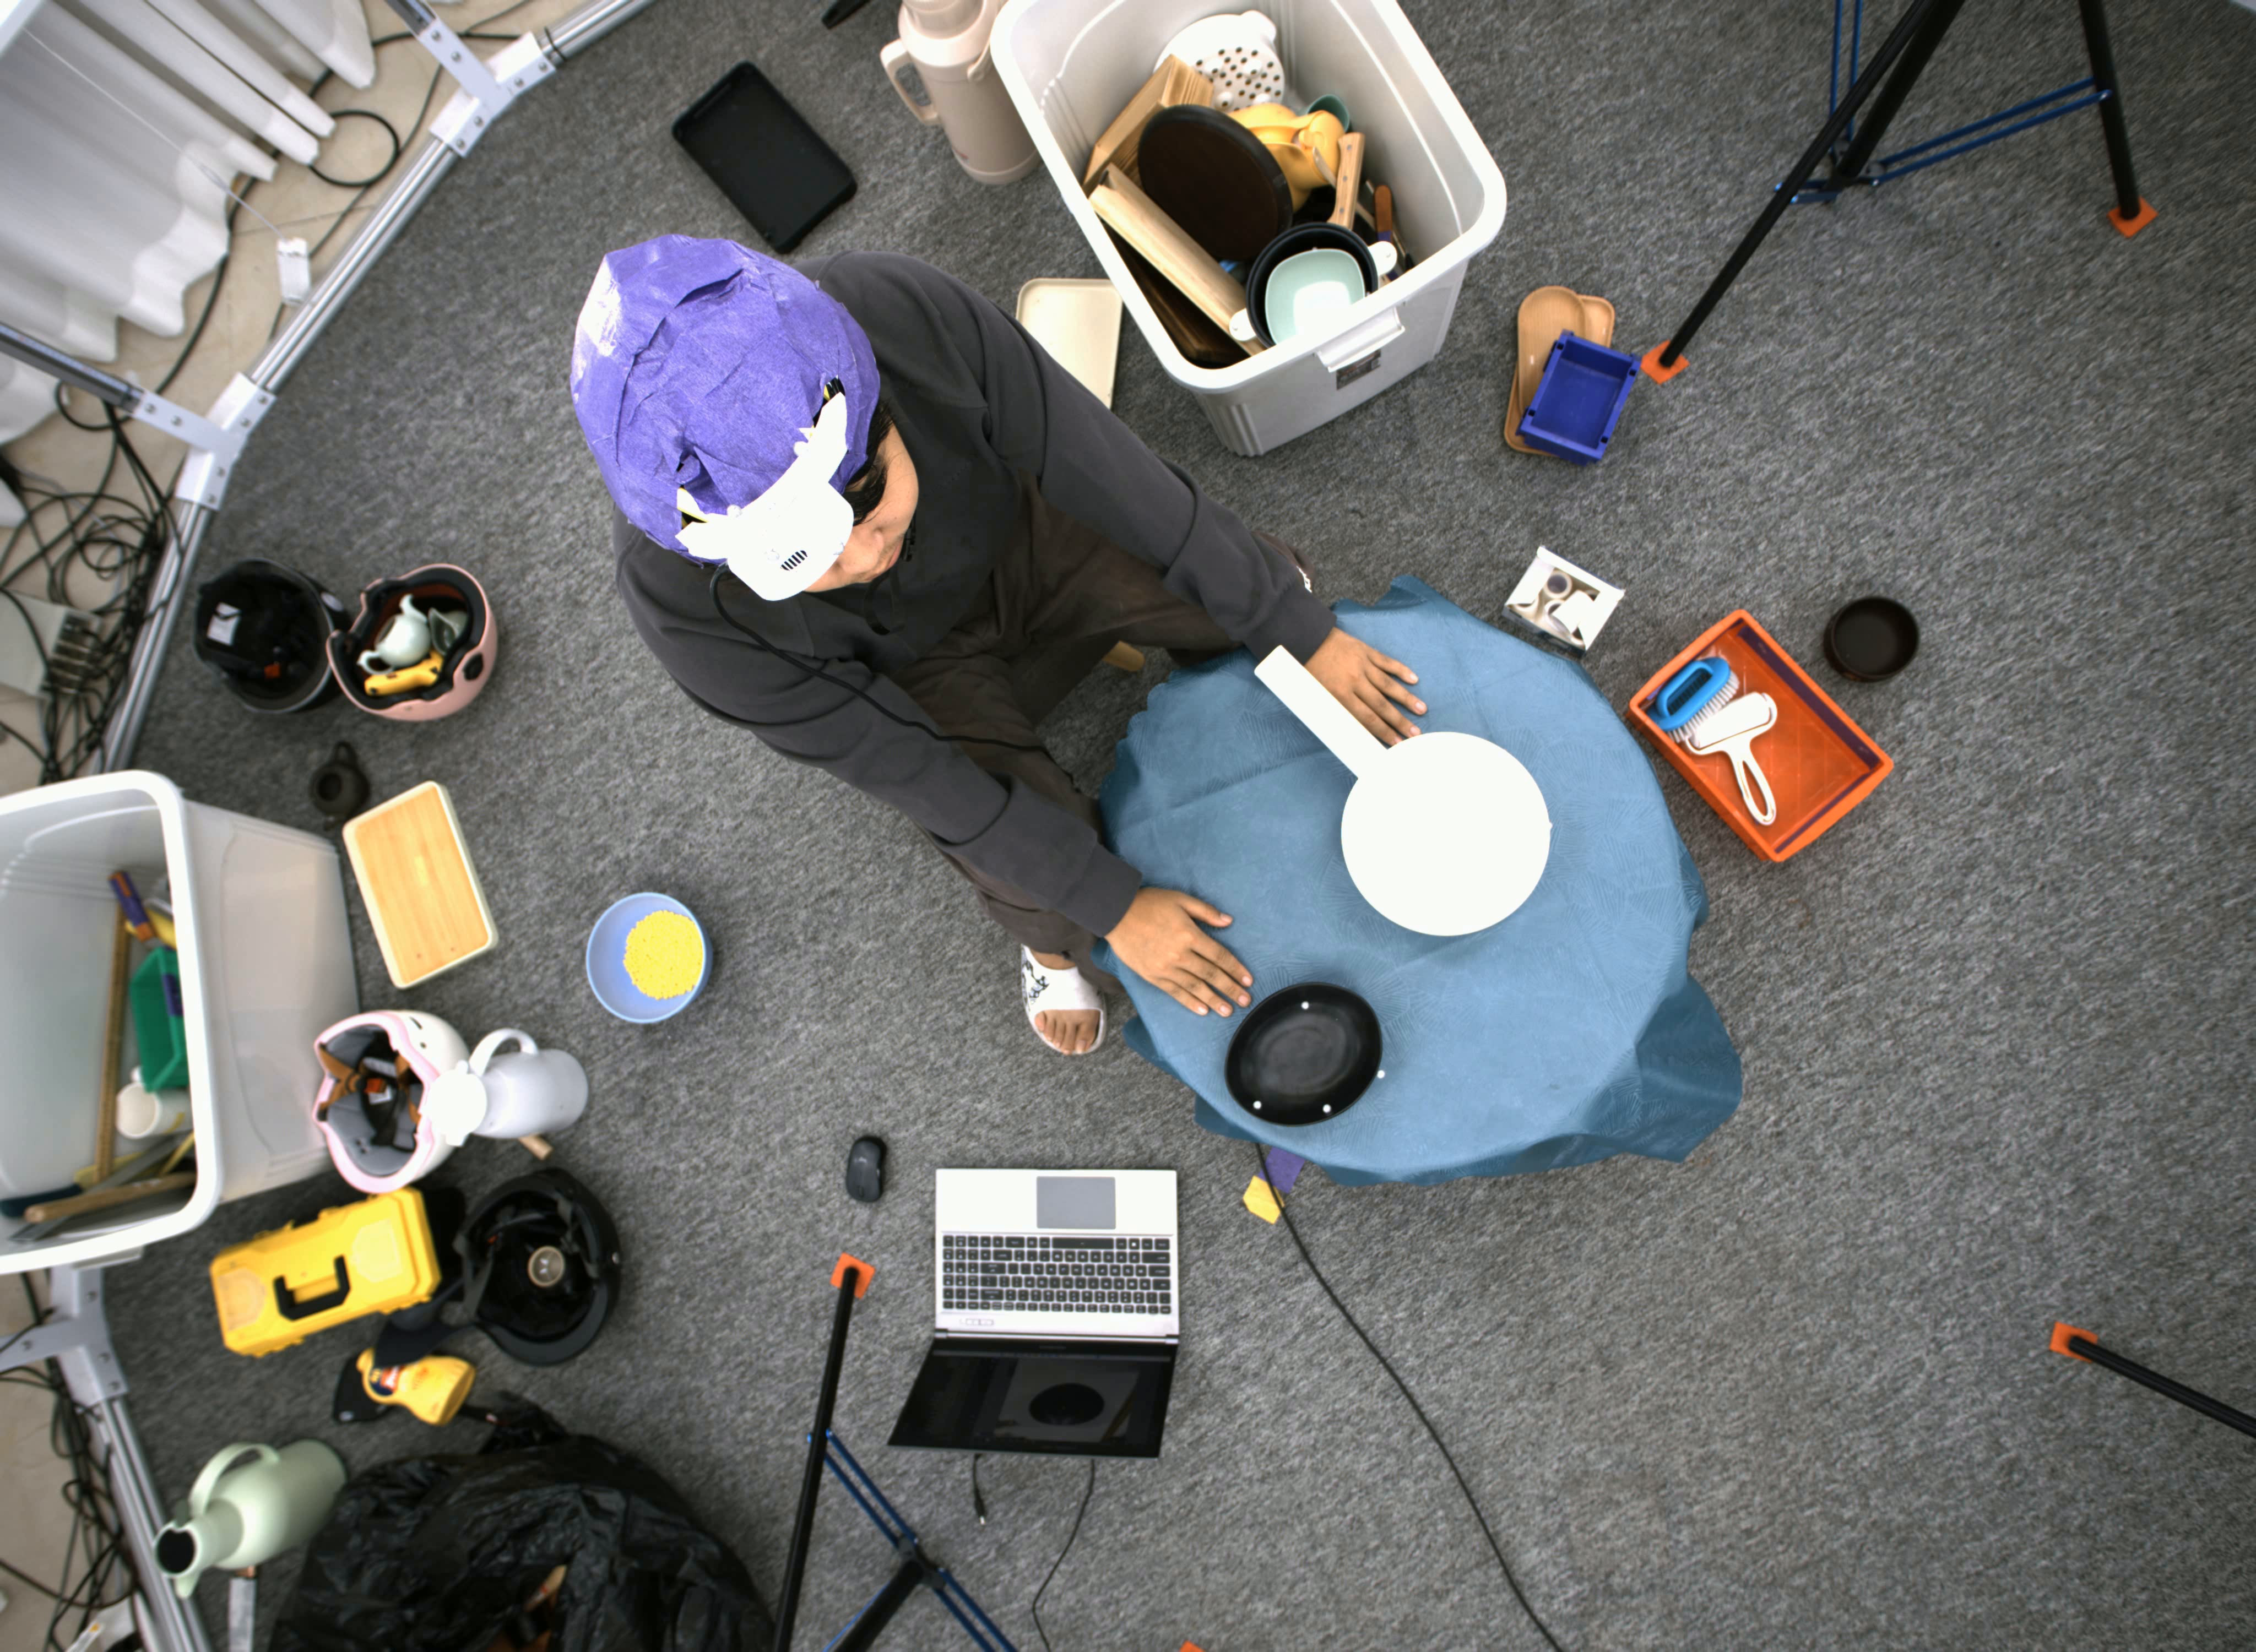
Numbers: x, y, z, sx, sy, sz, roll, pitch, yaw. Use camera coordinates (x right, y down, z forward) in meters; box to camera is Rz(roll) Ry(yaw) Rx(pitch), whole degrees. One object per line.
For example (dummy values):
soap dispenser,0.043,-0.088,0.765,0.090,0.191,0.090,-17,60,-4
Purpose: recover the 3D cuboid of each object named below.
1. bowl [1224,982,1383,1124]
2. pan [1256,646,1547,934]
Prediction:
bowl,0.183,0.234,1.435,0.171,0.066,0.136,-33,81,9
pan,0.270,-0.044,1.423,0.202,0.102,0.352,-45,78,7
